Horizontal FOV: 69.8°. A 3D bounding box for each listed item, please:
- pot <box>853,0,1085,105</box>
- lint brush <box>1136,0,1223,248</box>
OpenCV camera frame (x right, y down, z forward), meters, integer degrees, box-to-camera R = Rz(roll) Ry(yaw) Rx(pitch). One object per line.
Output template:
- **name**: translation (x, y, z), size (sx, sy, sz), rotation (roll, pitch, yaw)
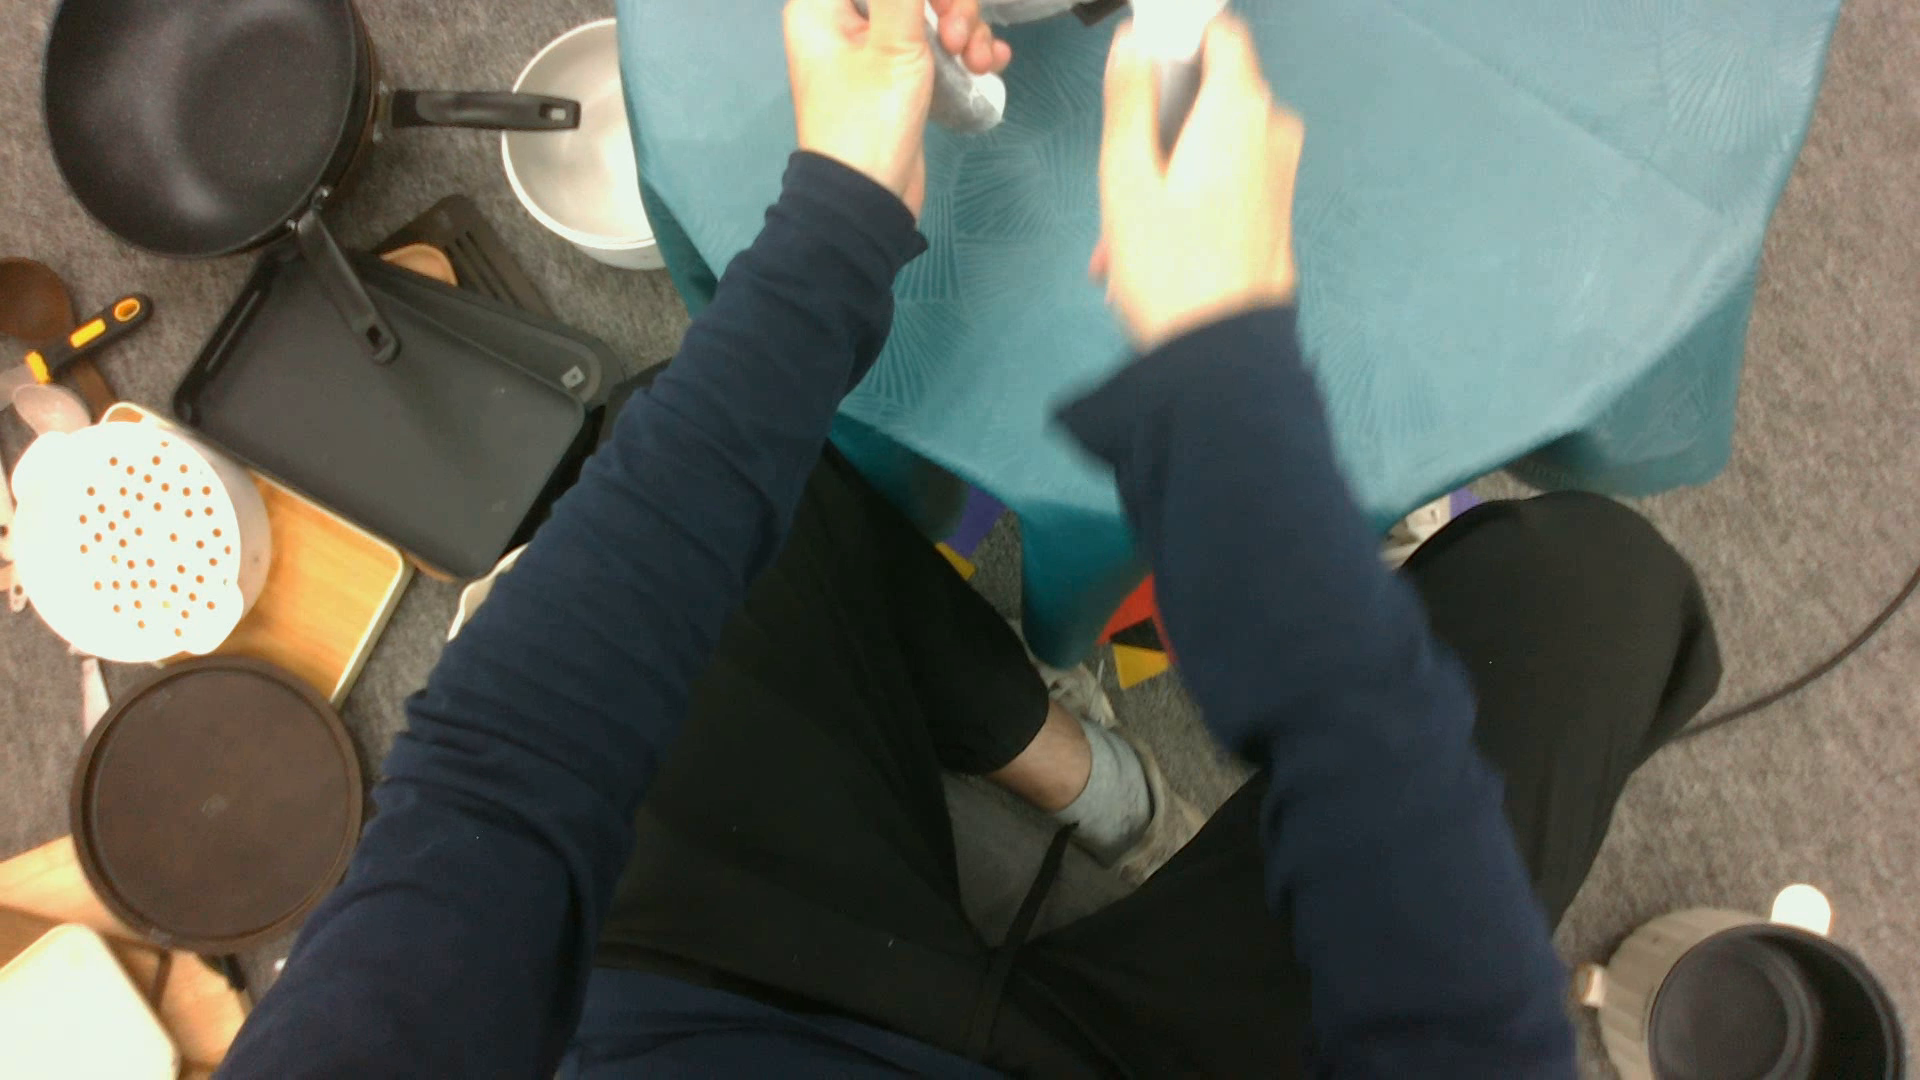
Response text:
- **pot**: translation (0.014, -0.308, 0.572), size (0.178, 0.136, 0.234), rotation (12, 76, 44)
- **lint brush**: translation (0.087, -0.259, 0.501), size (0.021, 0.060, 0.309), rotation (2, 86, 46)
